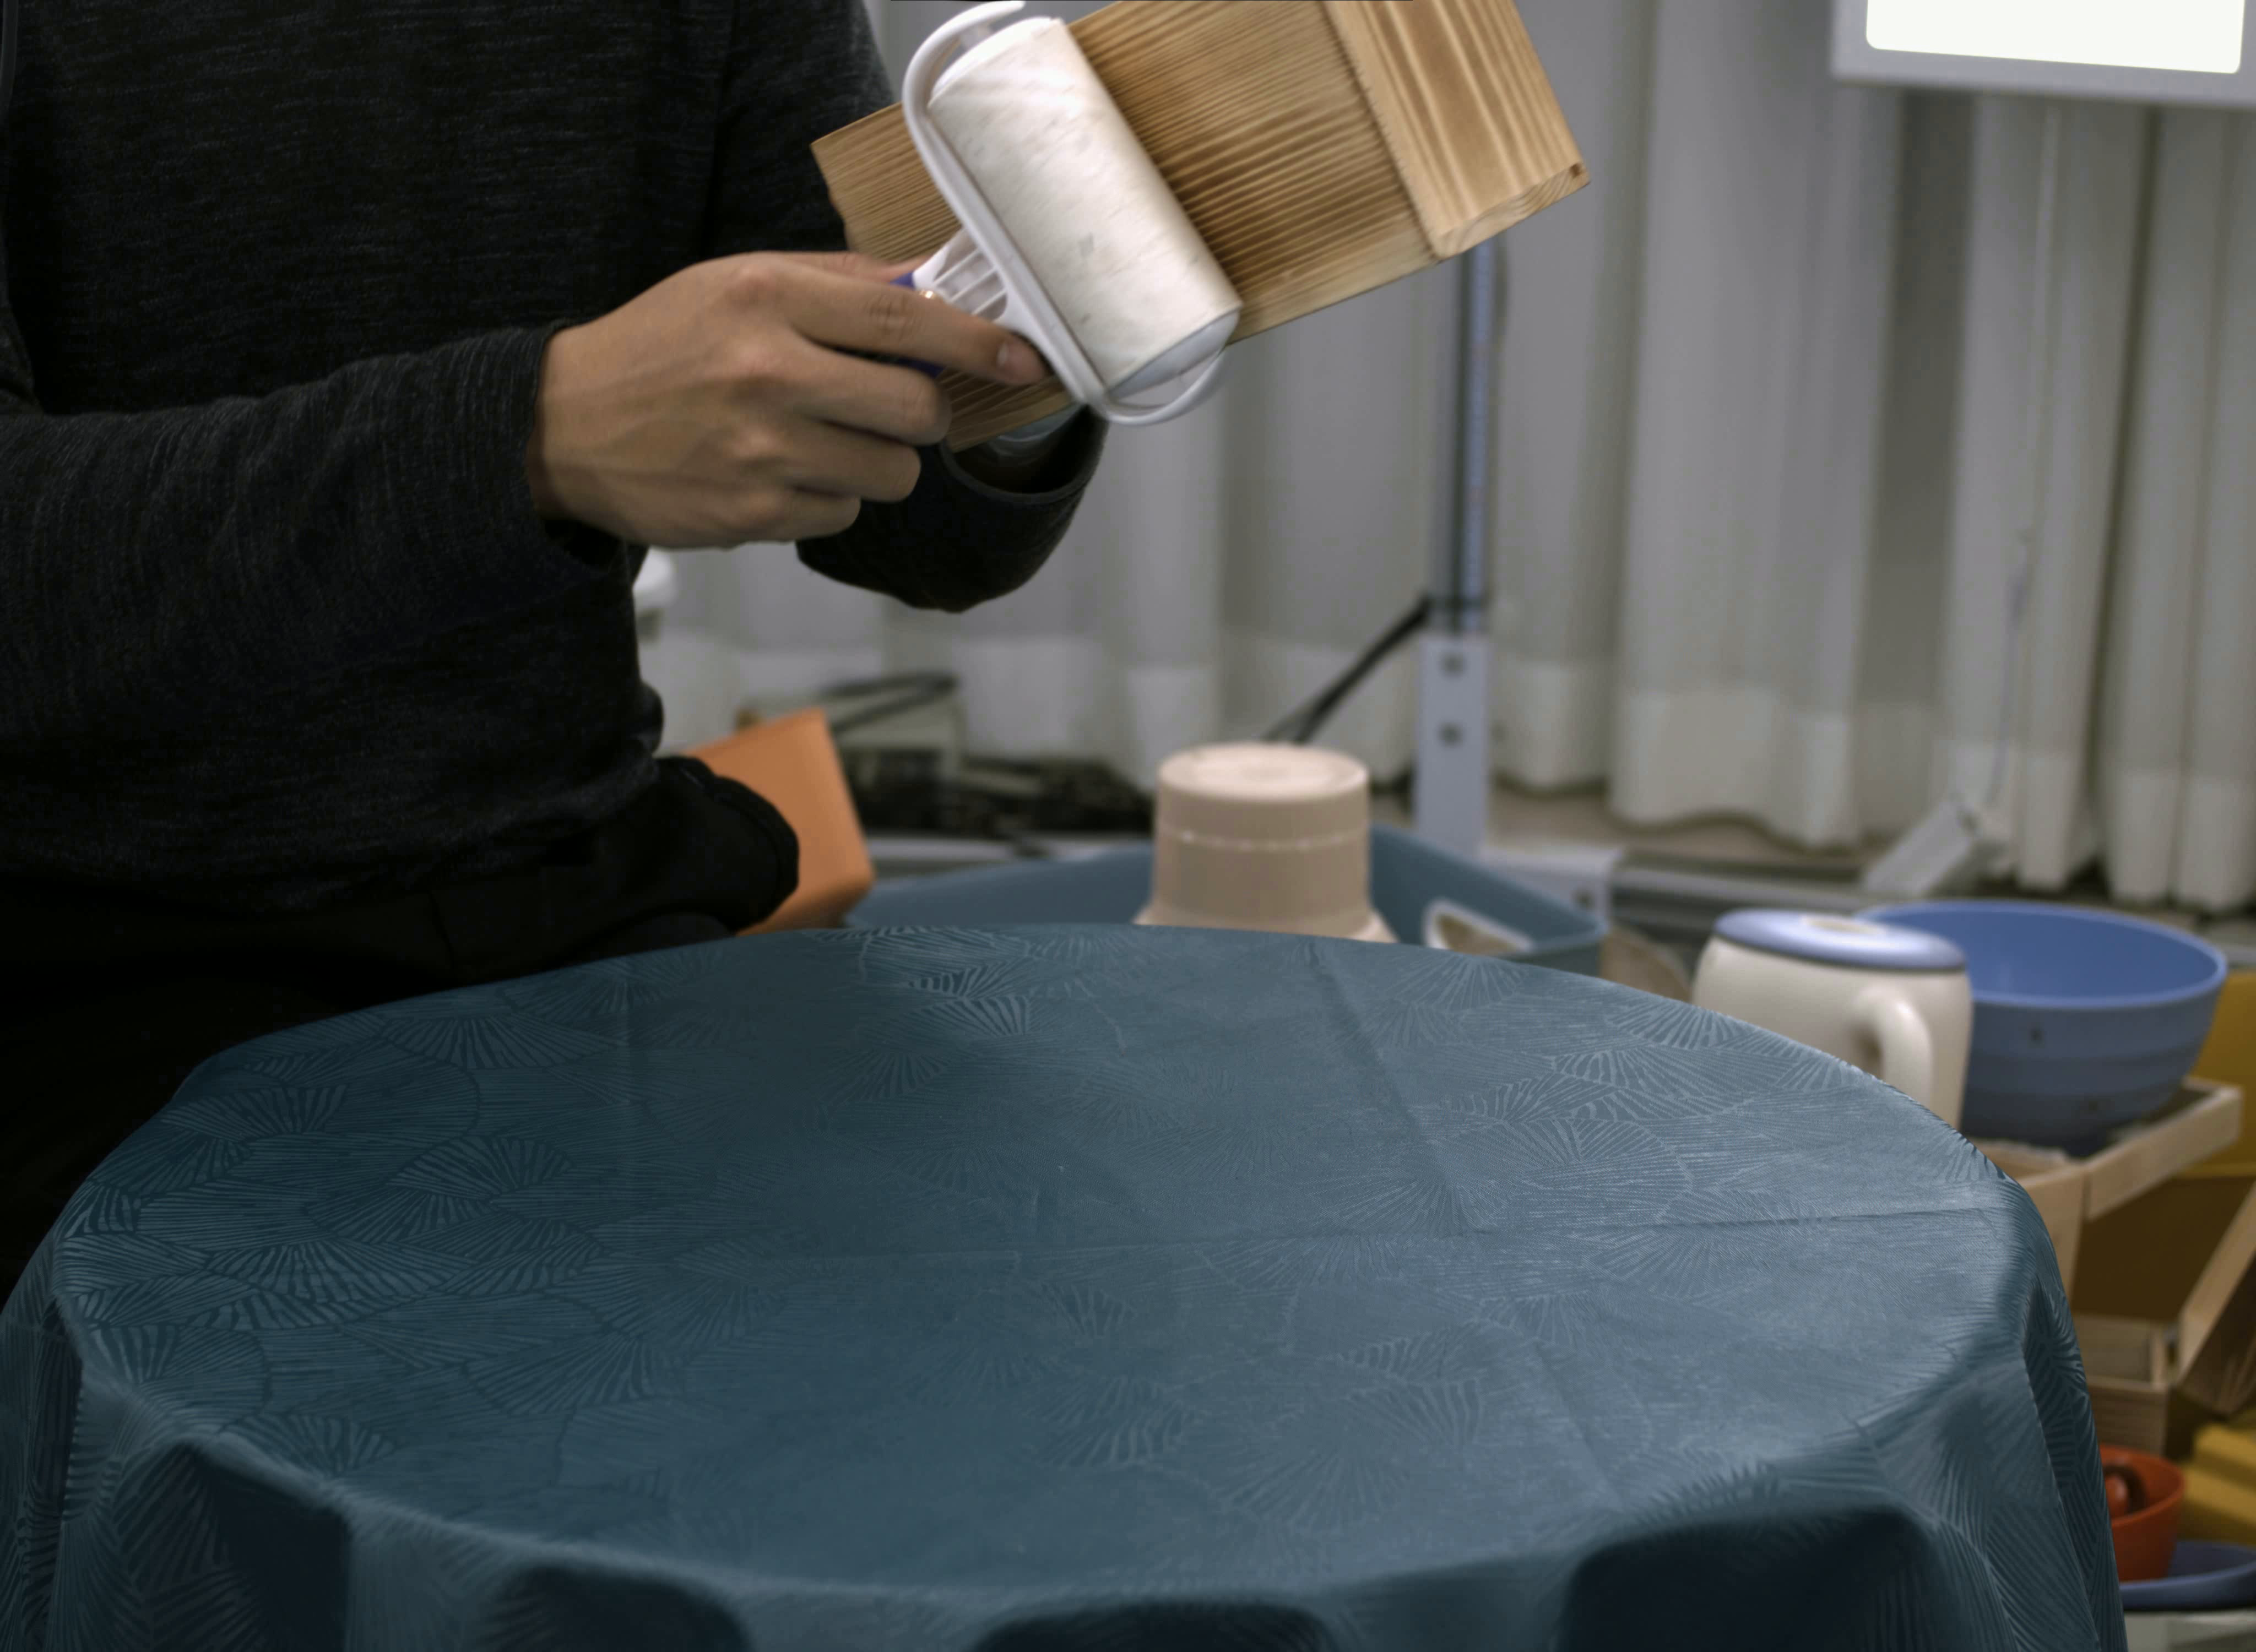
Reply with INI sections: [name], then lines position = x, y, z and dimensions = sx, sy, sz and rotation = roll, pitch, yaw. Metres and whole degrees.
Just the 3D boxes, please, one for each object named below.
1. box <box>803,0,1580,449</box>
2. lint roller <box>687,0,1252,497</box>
[box]
position = 0.016, -0.200, 1.565
dimensions = 0.210, 0.108, 0.080
rotation = -16, 11, 44
[lint roller]
position = -0.064, -0.150, 1.530
dimensions = 0.180, 0.133, 0.050
rotation = -31, 2, 17
